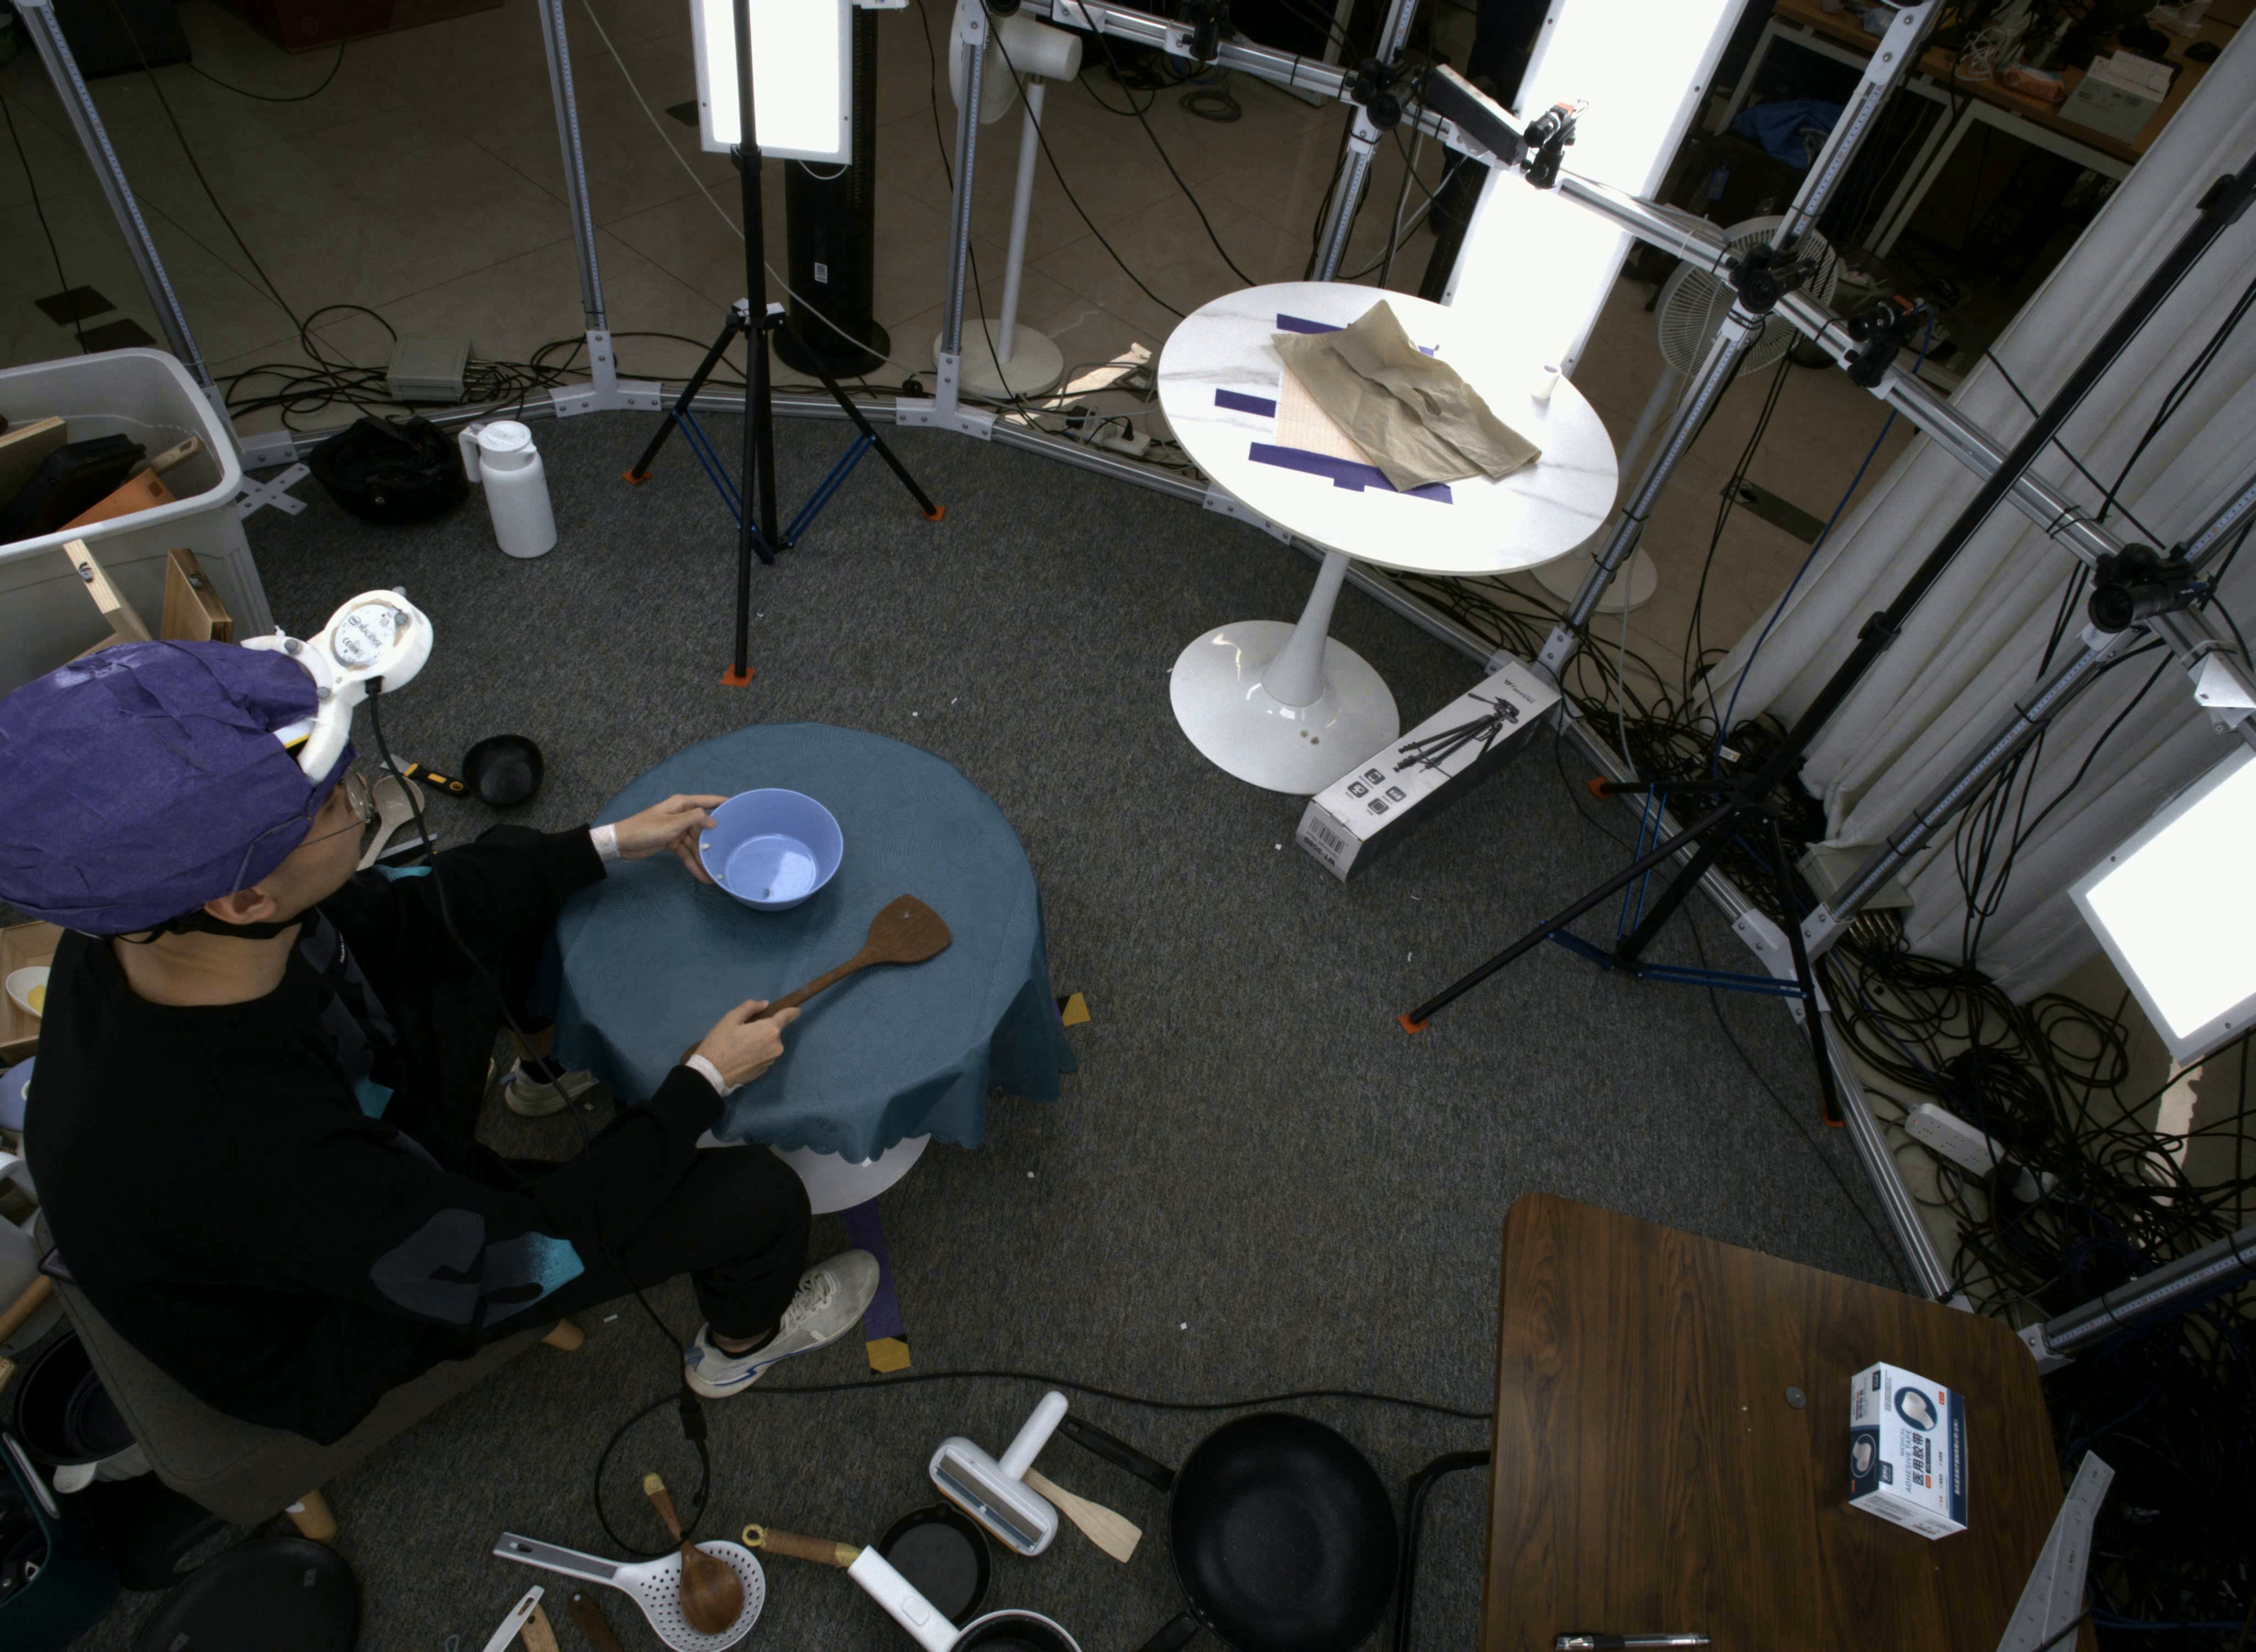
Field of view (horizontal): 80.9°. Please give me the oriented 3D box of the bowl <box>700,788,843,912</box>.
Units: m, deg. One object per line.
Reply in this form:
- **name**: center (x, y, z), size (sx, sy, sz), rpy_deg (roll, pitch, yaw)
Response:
- **bowl**: center (-0.450, 0.040, 1.645), size (0.176, 0.071, 0.173), rpy_deg (8, 53, -9)

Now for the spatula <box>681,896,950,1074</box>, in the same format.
- **spatula**: center (-0.373, 0.190, 1.558), size (0.094, 0.016, 0.388), rpy_deg (42, 45, 17)
